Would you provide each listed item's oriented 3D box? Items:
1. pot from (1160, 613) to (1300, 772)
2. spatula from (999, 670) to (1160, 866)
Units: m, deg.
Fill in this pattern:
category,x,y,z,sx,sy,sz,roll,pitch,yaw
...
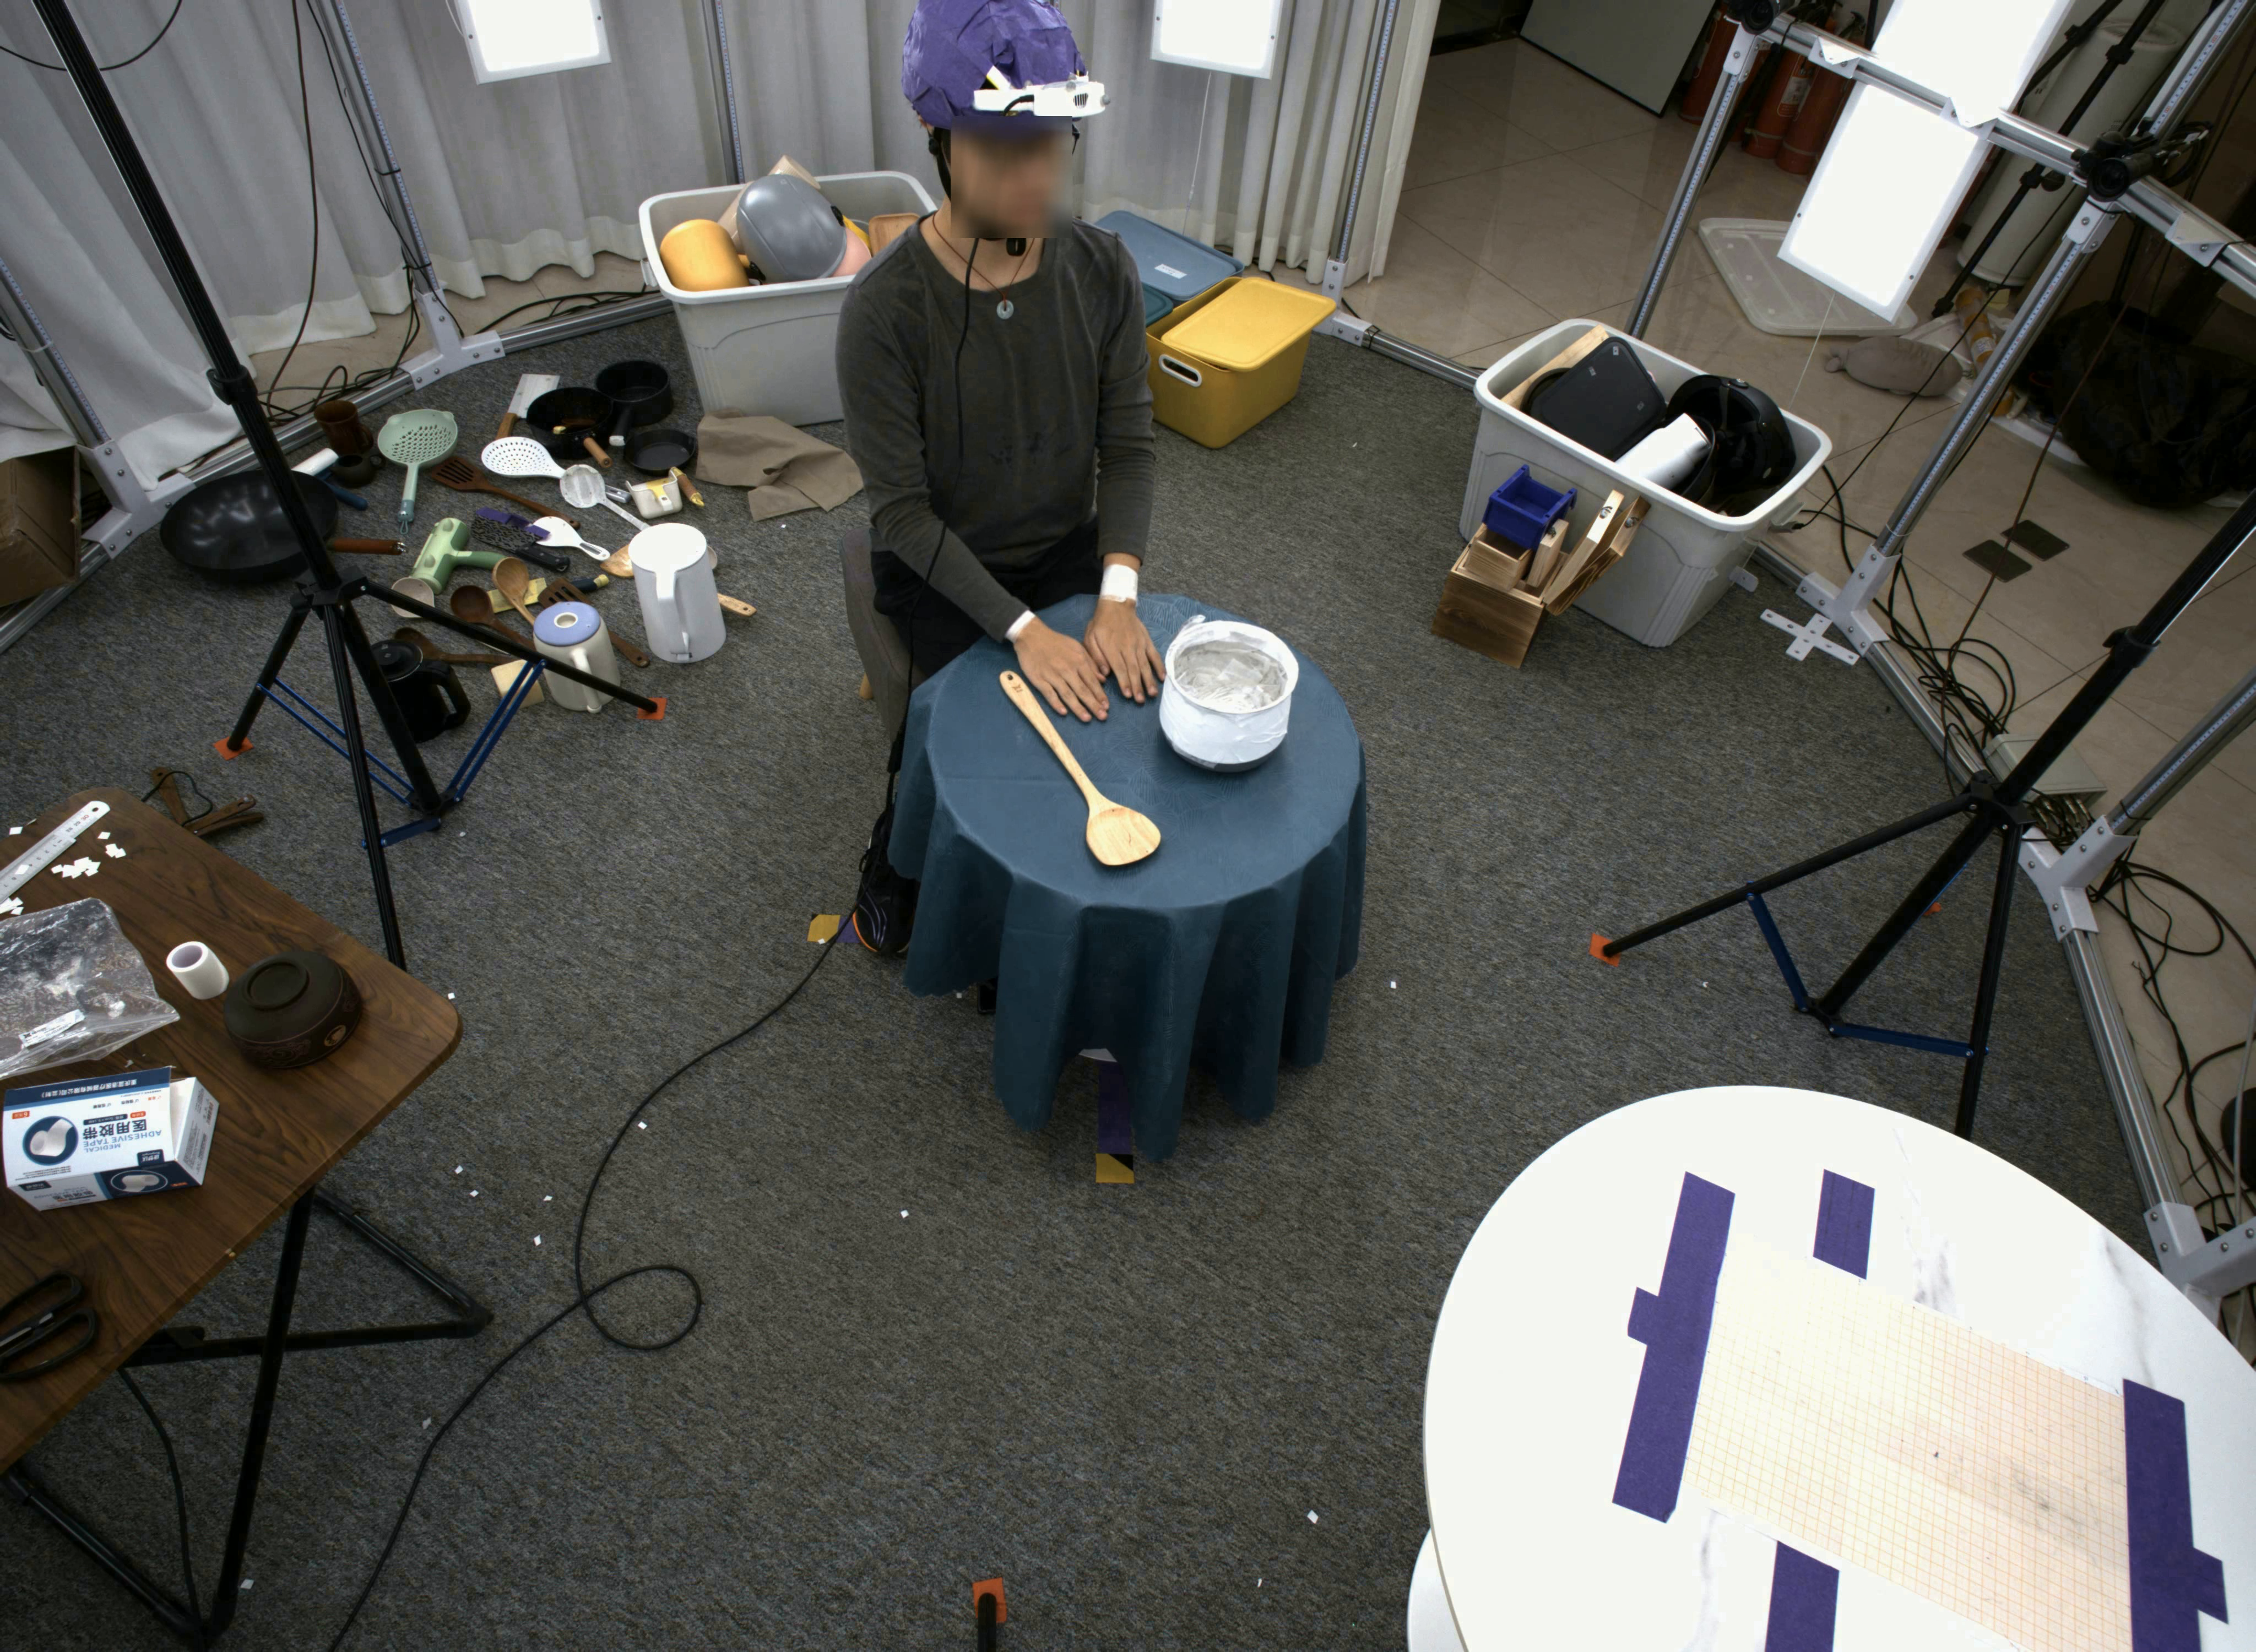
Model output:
category,x,y,z,sx,sy,sz,roll,pitch,yaw
pot,0.122,-0.193,1.752,0.179,0.133,0.239,-17,53,-18
spatula,-0.086,-0.087,1.725,0.096,0.018,0.399,-20,53,-22
